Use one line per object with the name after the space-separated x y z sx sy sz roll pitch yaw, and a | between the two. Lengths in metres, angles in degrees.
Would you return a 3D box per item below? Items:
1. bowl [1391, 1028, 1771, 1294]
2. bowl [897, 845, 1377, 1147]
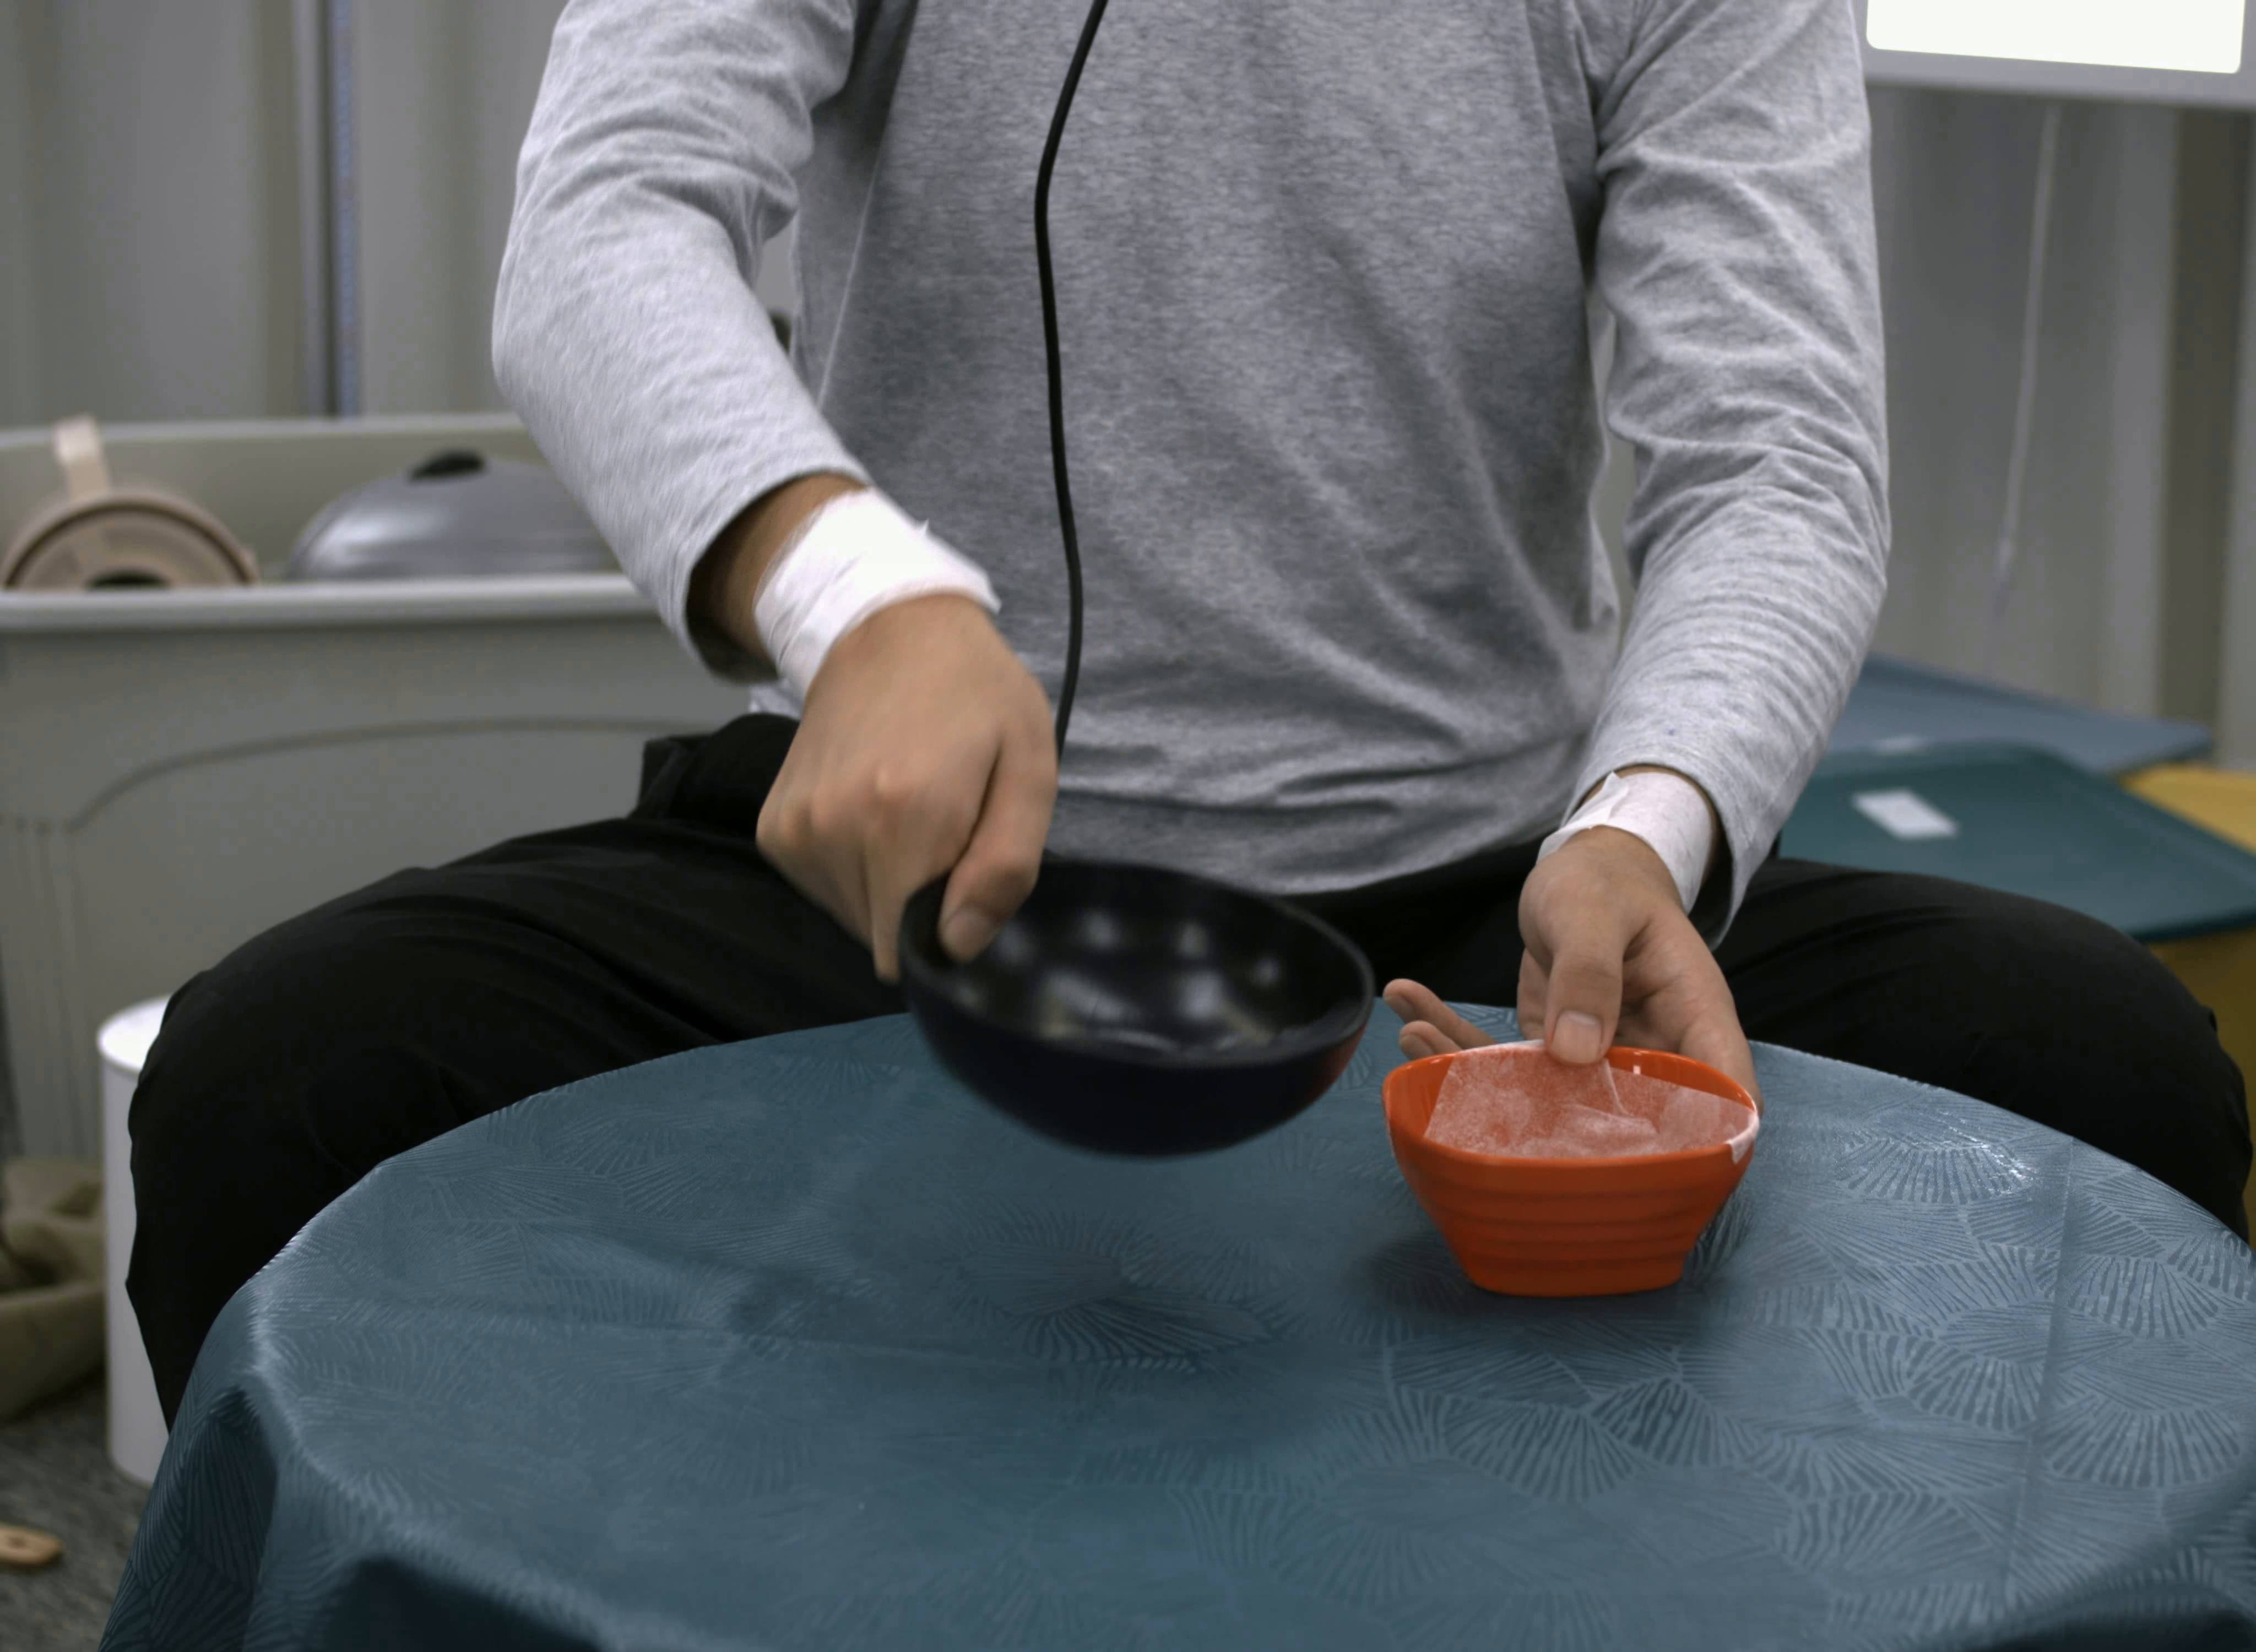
0.133 0.102 1.562 0.118 0.052 0.118 0 19 0 | bowl
-0.001 0.055 1.502 0.140 0.050 0.139 10 20 -3 | bowl
